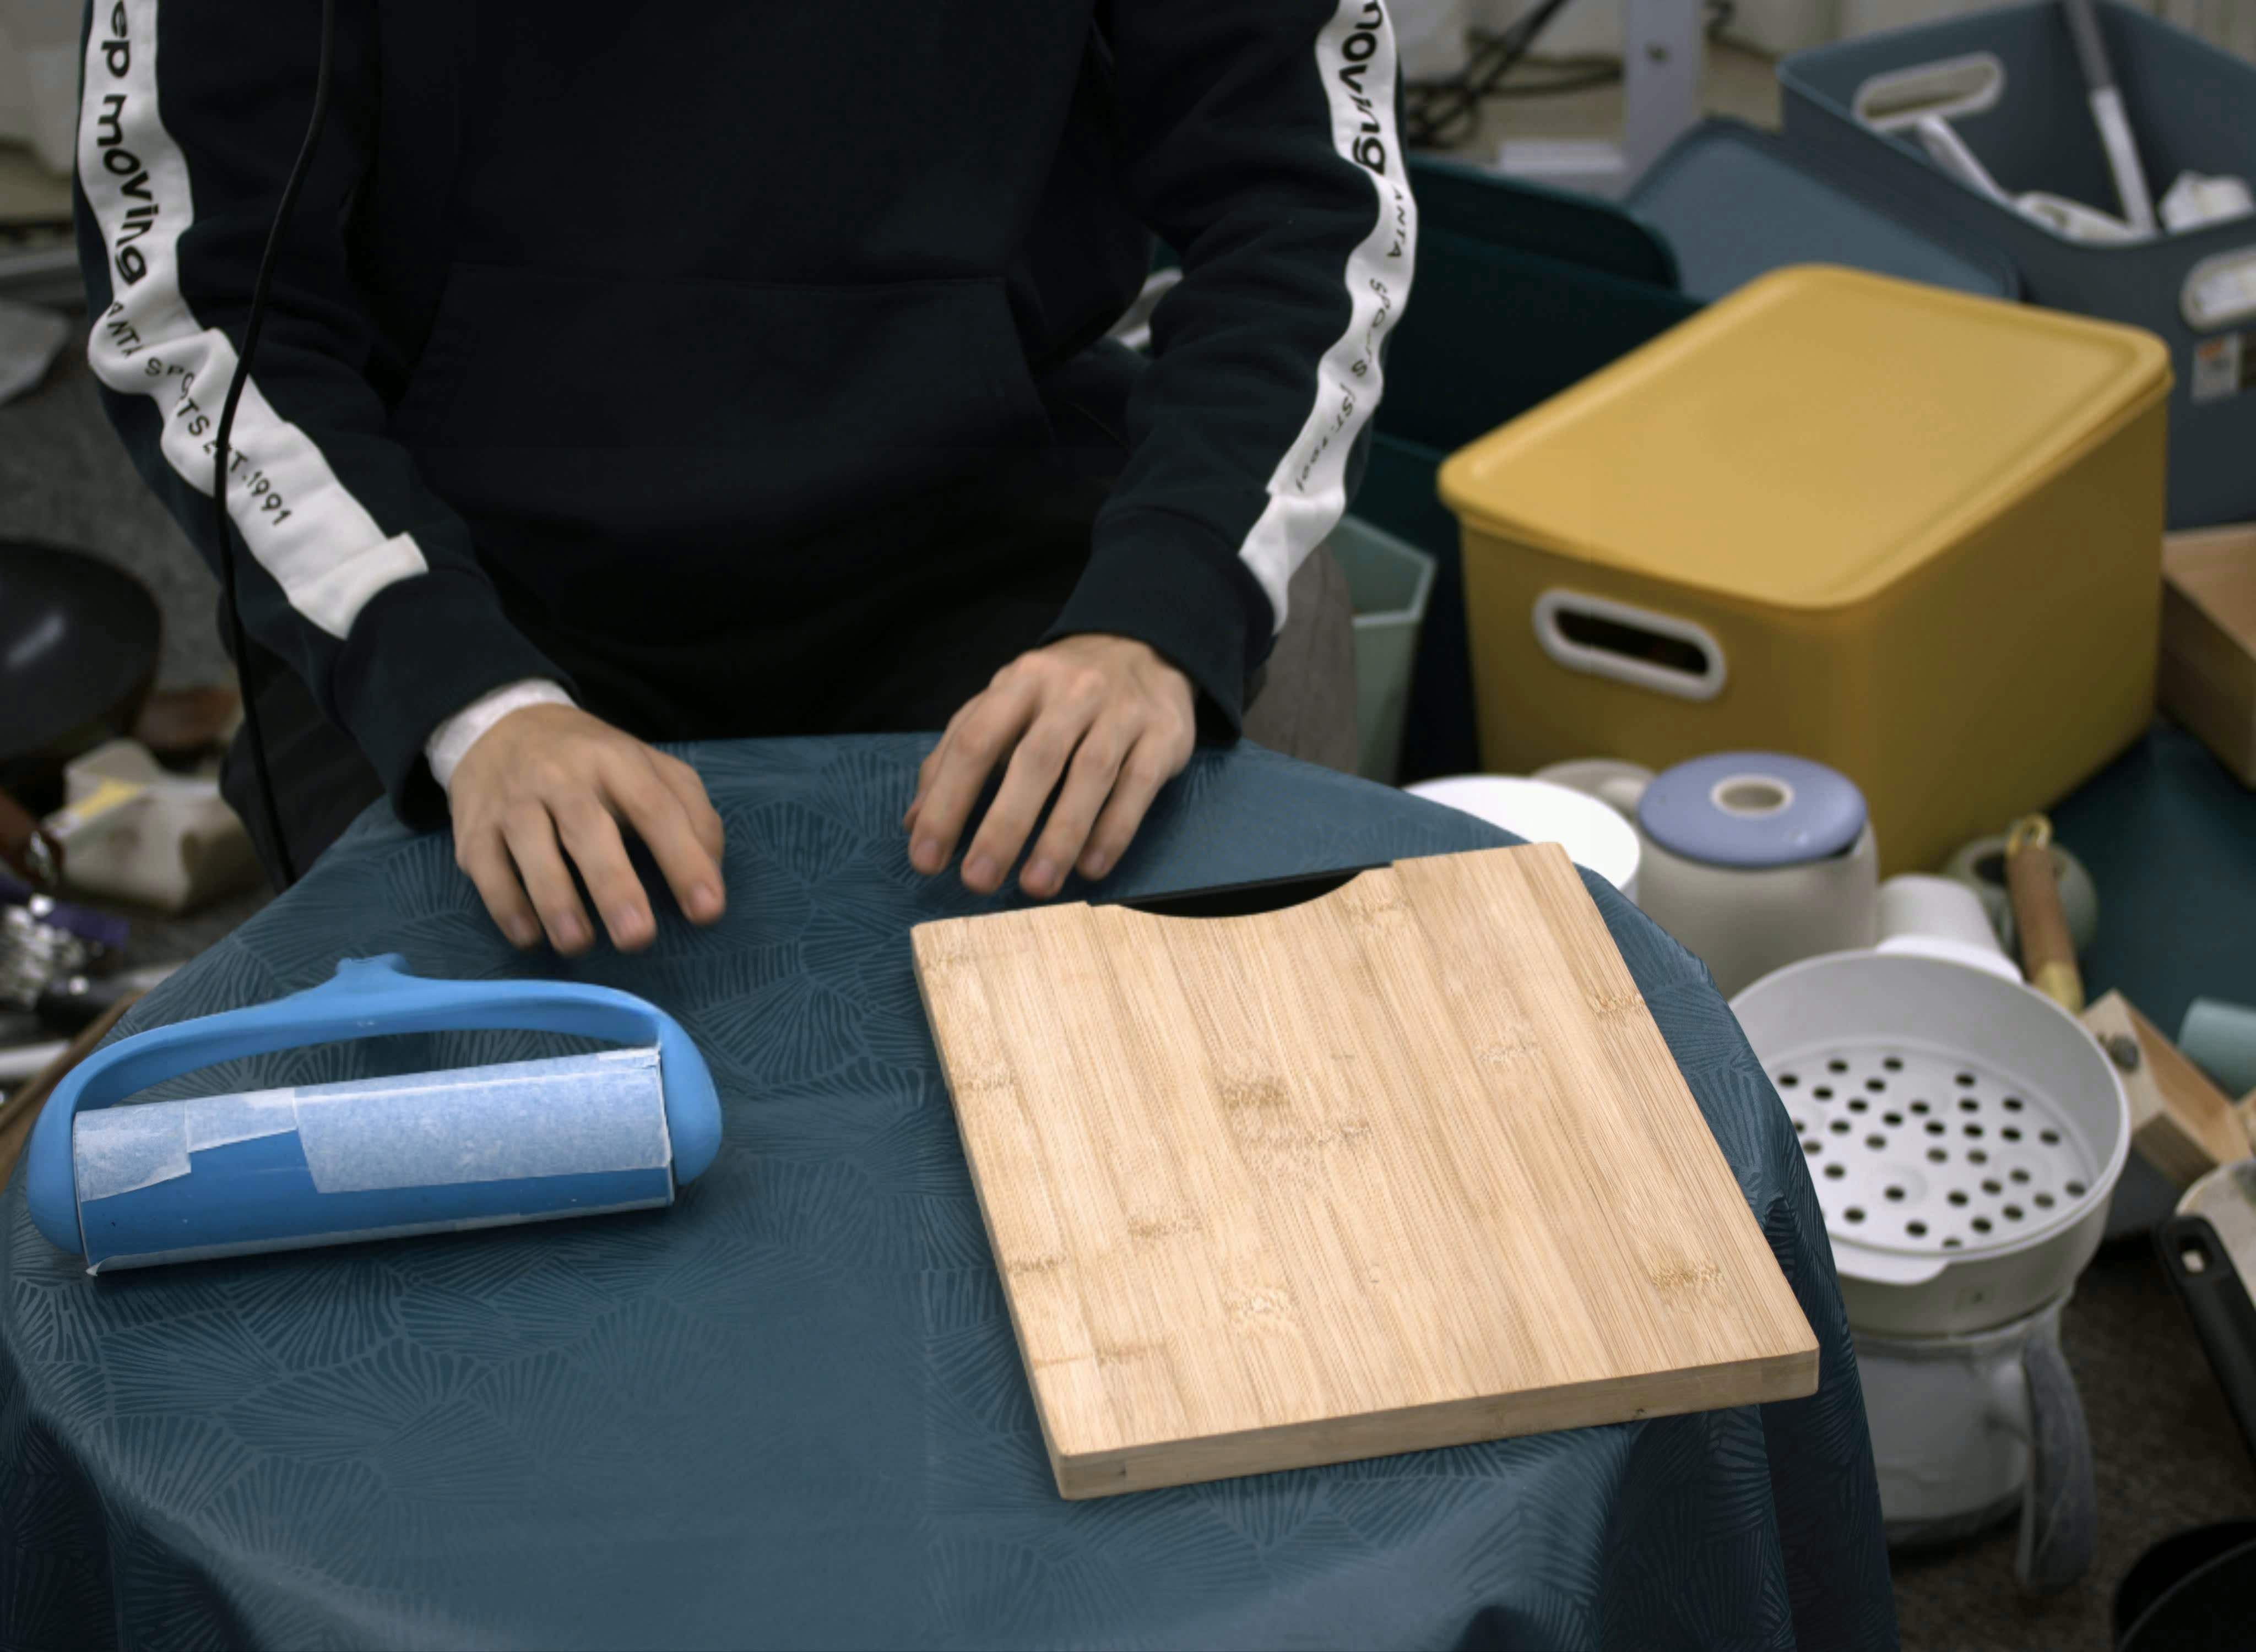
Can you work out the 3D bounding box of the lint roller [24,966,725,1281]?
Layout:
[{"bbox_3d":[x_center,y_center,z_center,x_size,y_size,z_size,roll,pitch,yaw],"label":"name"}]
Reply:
[{"bbox_3d":[-0.257,0.083,1.898,0.228,0.067,0.182,-9,28,-8],"label":"lint roller"}]

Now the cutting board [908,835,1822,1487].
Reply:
[{"bbox_3d":[0.068,0.105,1.869,0.250,0.023,0.353,-7,28,-8],"label":"cutting board"}]
